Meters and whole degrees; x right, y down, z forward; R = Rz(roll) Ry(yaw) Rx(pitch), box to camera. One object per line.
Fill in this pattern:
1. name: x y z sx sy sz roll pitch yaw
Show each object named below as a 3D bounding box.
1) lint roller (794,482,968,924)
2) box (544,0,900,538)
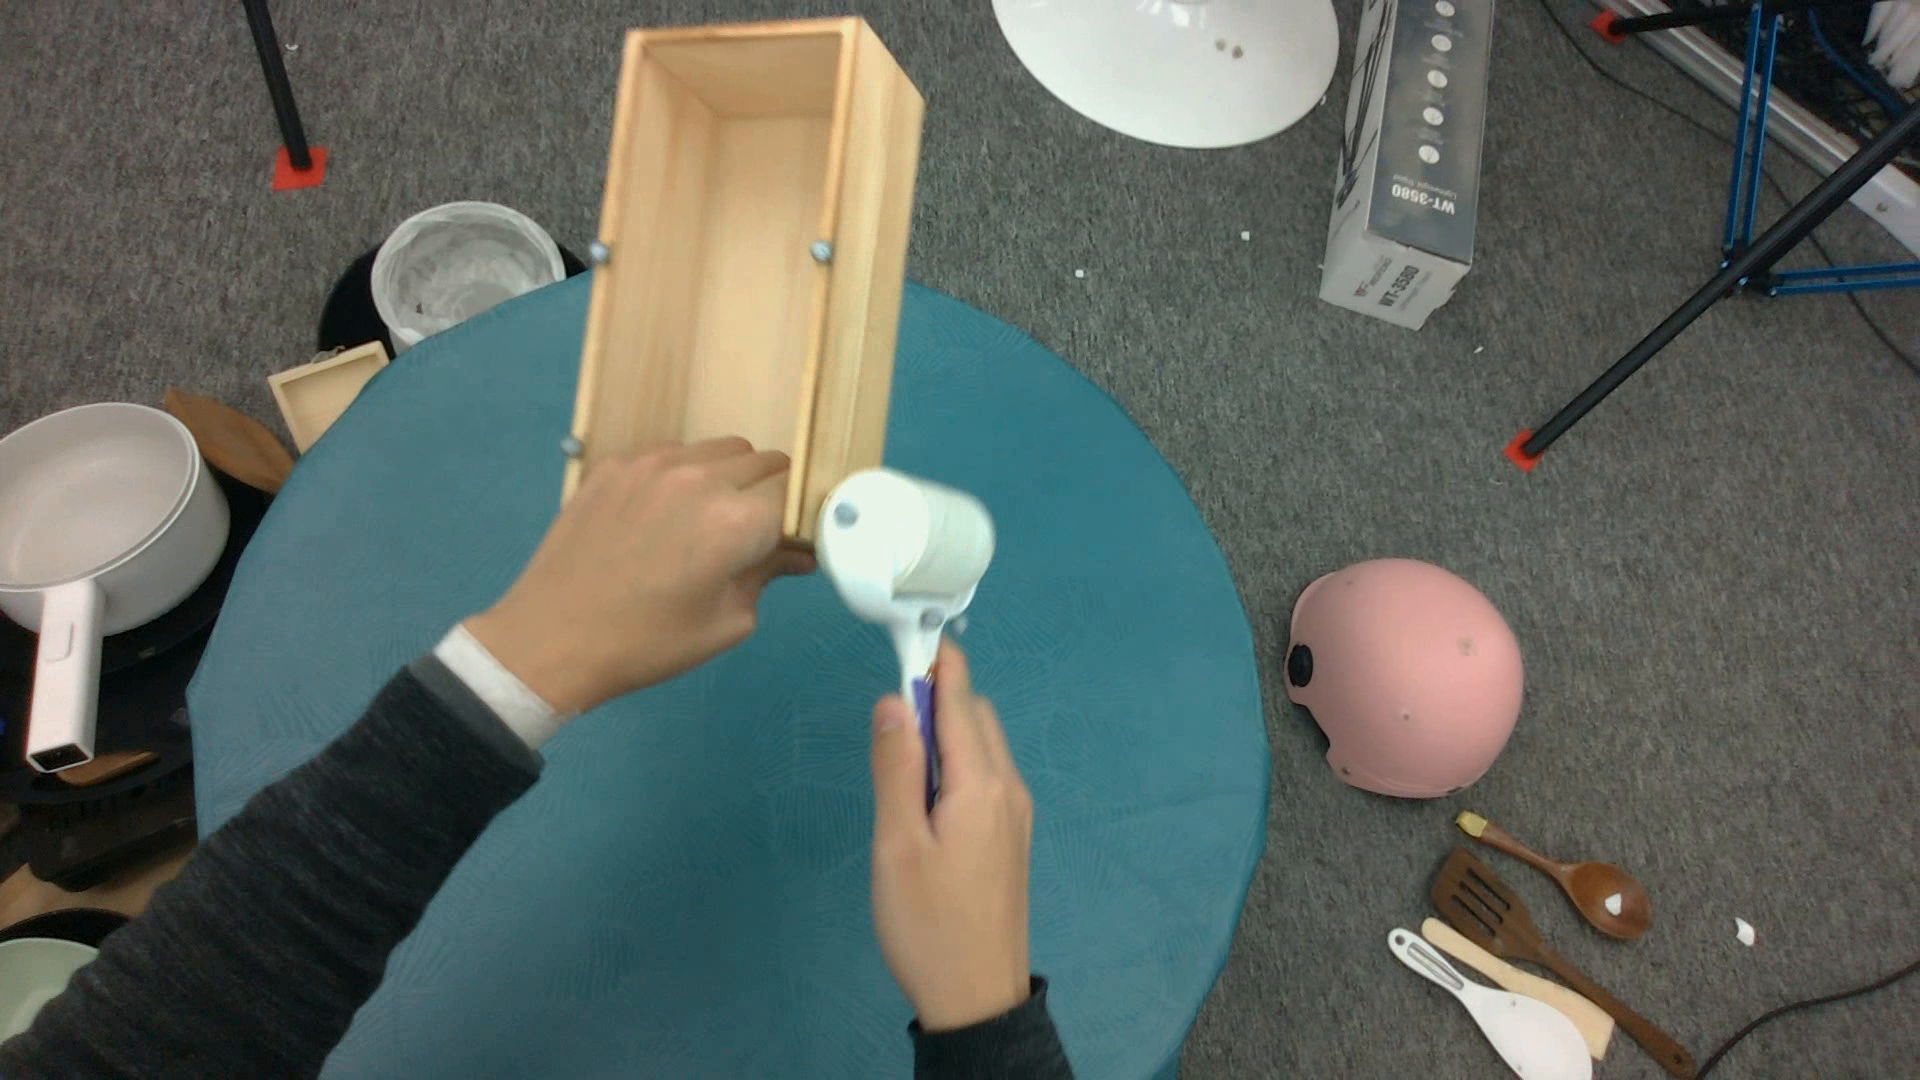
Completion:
1. lint roller: -0.016 0.066 0.571 0.050 0.133 0.181 -16 81 12
2. box: -0.097 -0.111 0.586 0.107 0.080 0.211 4 85 15
